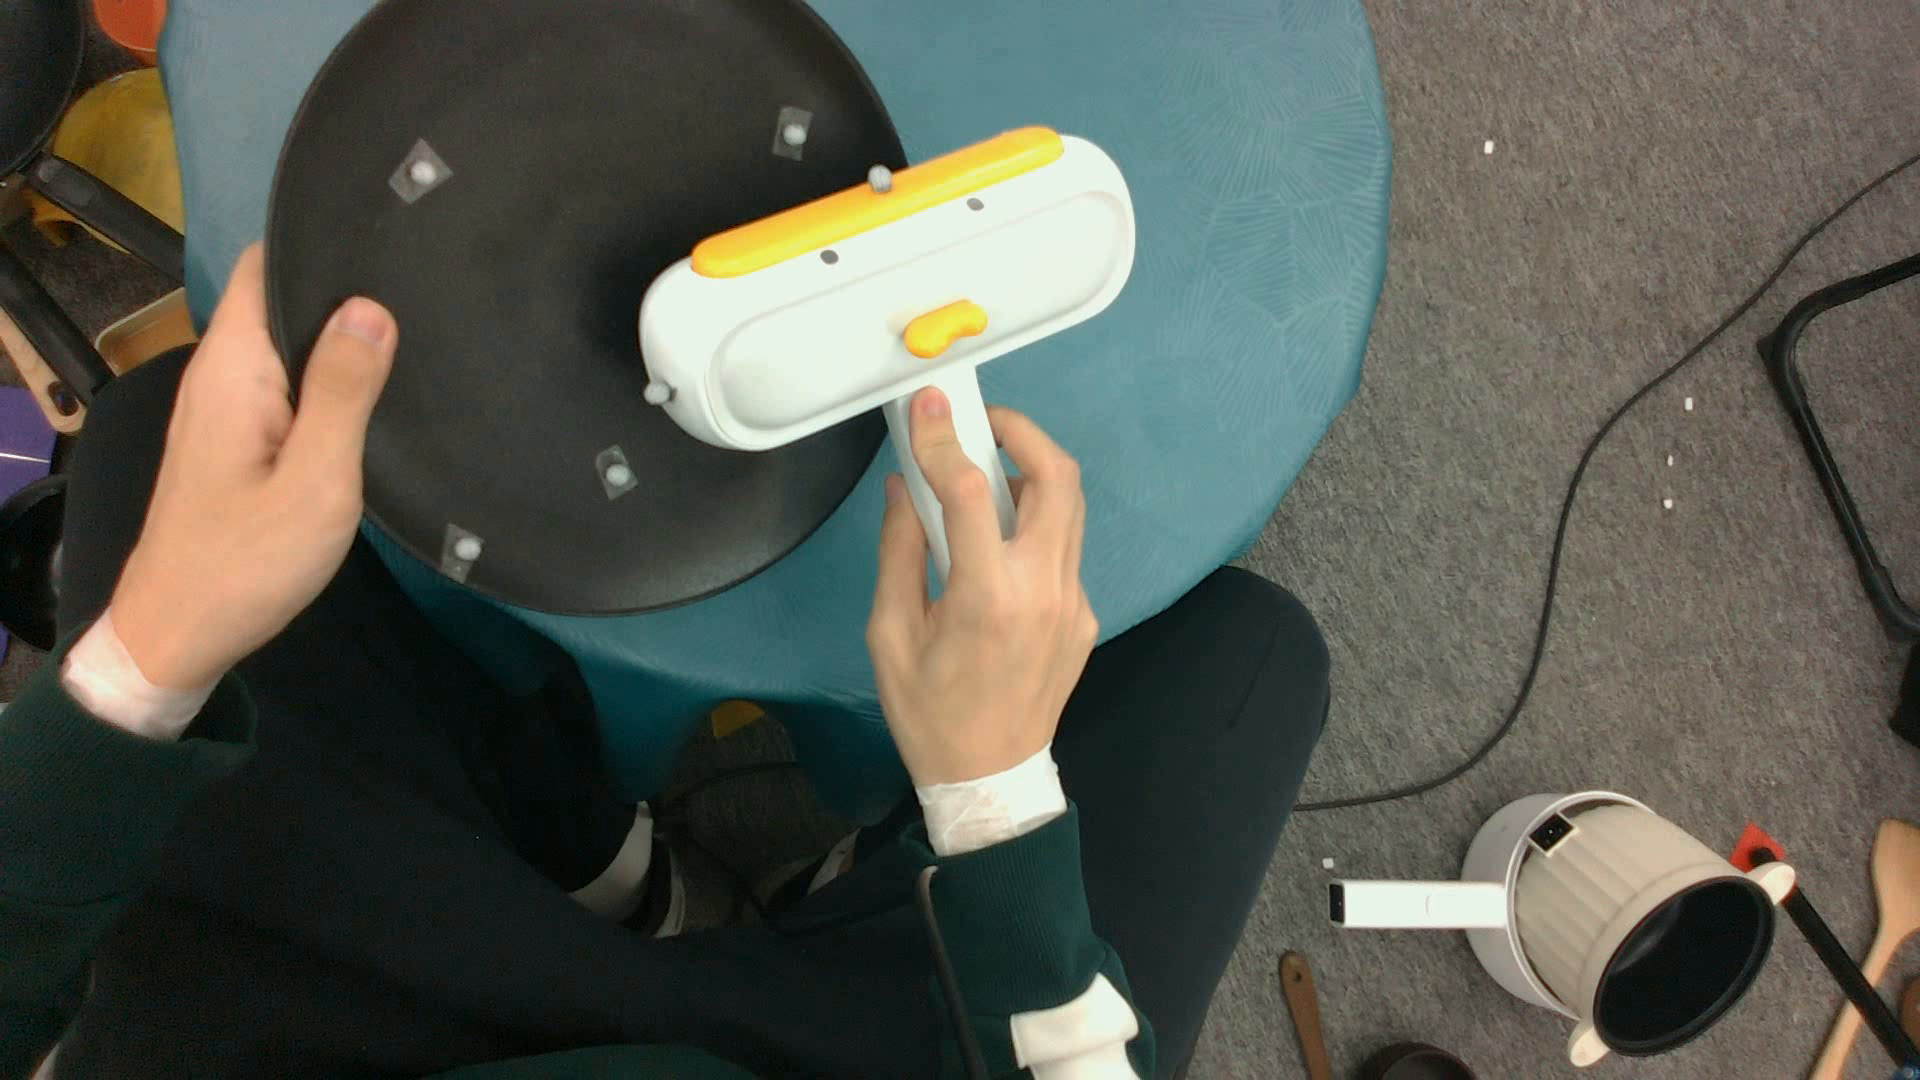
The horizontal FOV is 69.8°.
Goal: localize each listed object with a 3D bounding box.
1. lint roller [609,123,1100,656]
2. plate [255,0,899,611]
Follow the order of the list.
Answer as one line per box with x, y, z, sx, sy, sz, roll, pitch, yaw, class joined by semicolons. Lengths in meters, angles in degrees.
-0.015;-0.042;0.528;0.193;0.074;0.192;-32;126;-23;lint roller
-0.124;-0.093;0.502;0.245;0.023;0.243;-13;112;-34;plate
